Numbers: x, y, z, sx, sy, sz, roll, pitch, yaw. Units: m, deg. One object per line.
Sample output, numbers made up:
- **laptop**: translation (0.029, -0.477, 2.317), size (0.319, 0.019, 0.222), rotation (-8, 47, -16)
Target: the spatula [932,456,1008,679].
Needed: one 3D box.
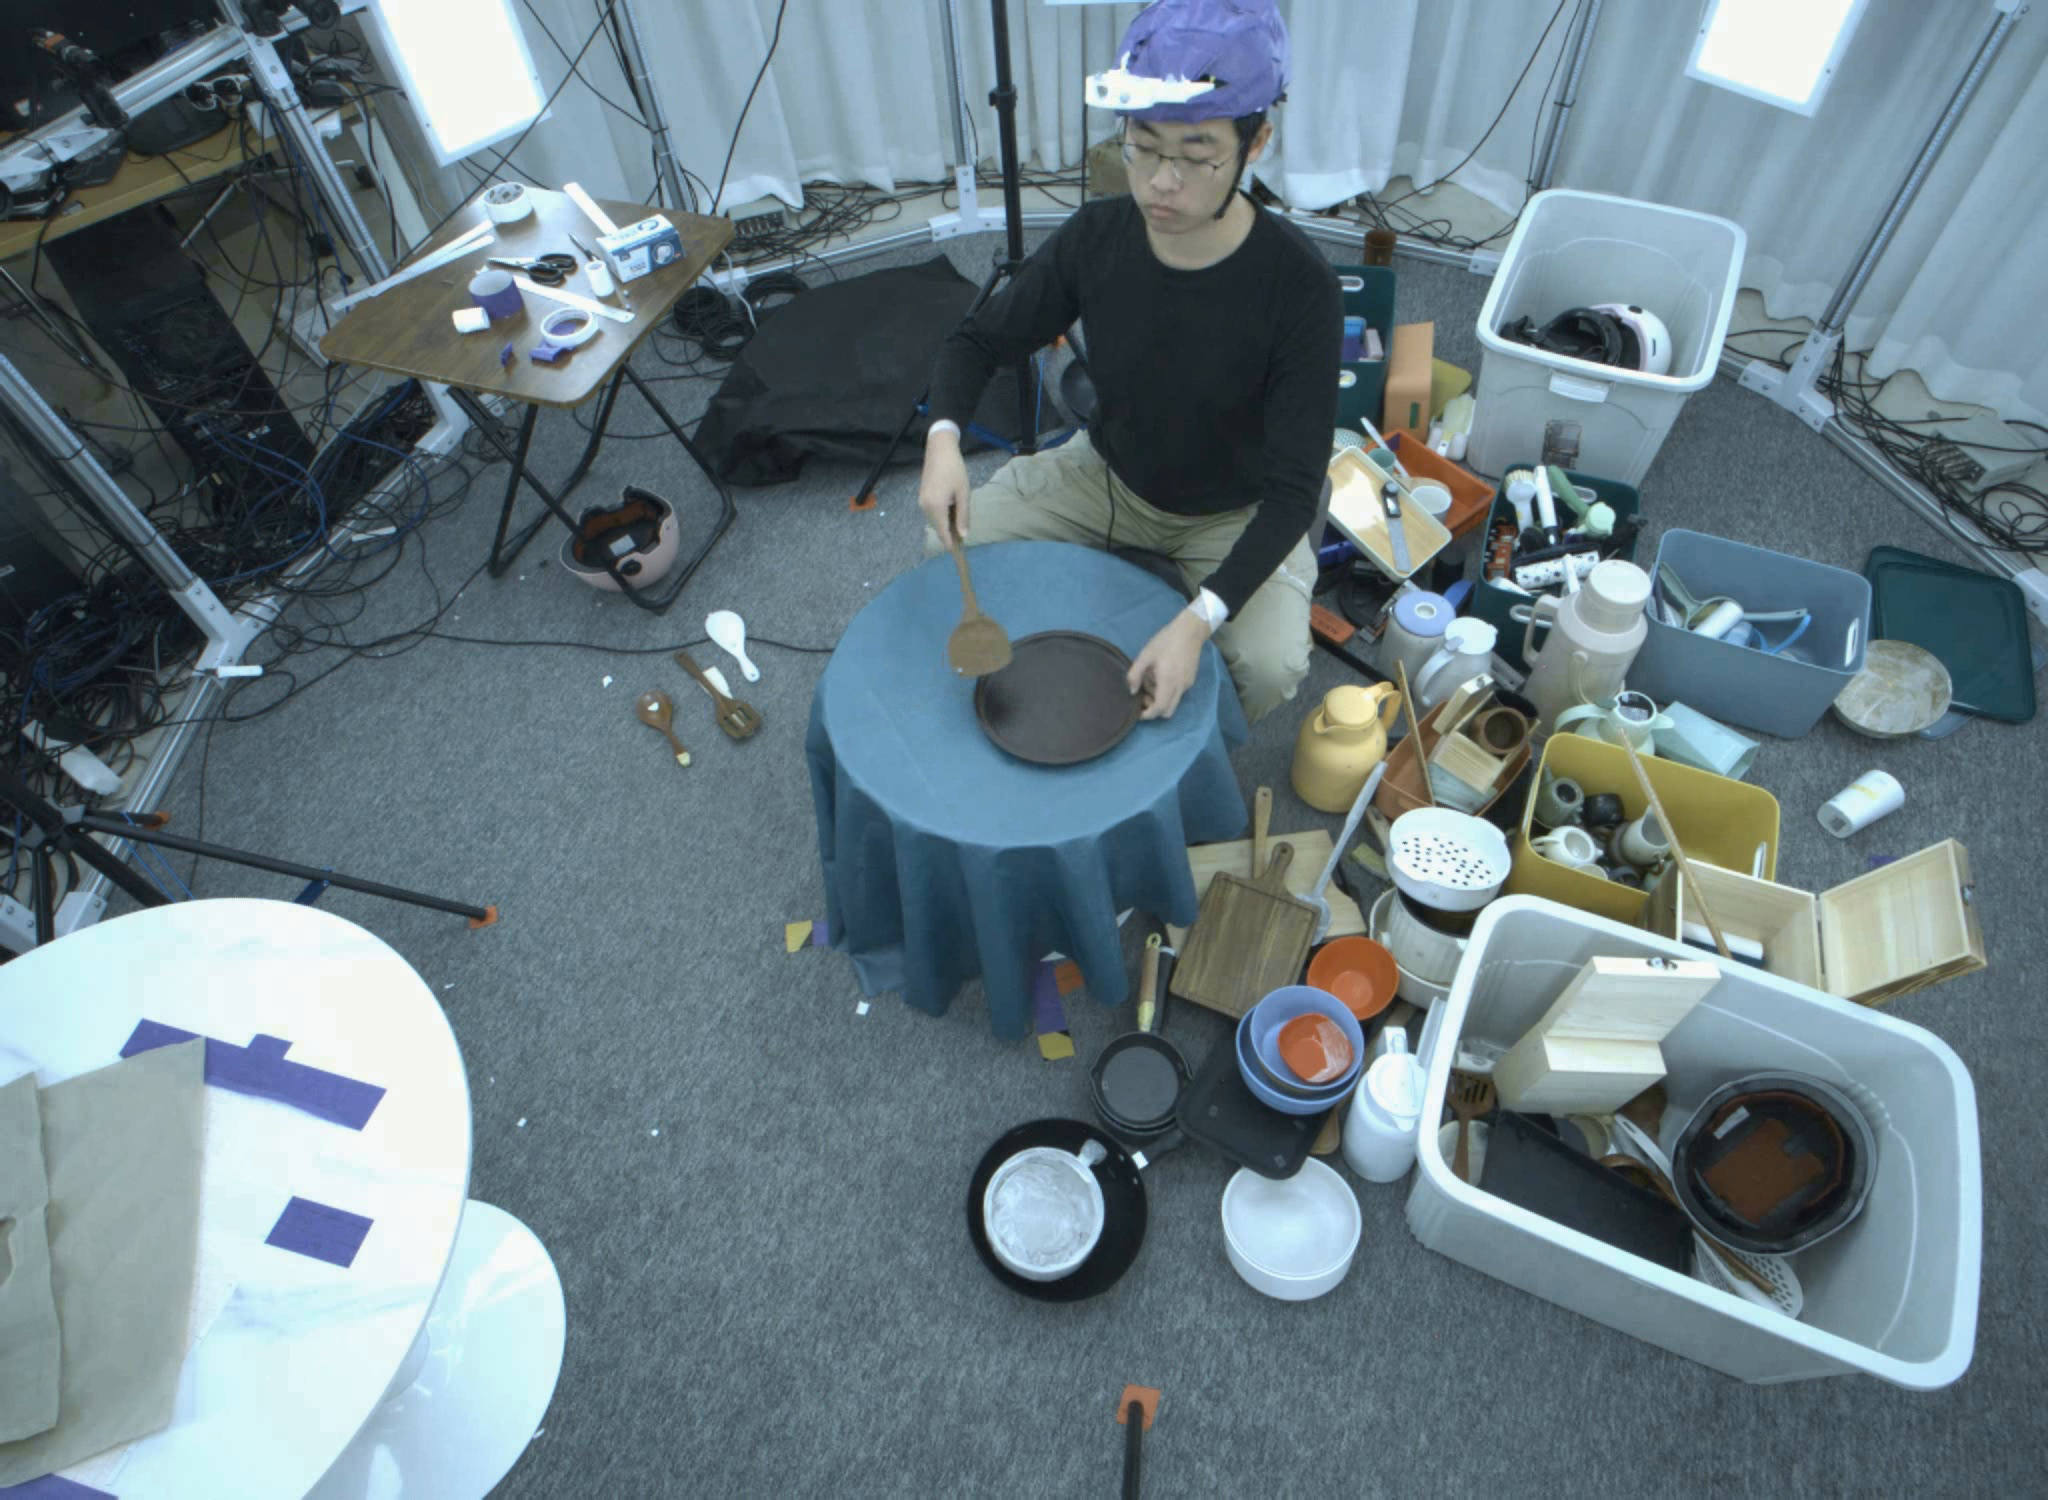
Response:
- **spatula**: translation (-0.099, -0.282, 1.828), size (0.096, 0.016, 0.382), rotation (-11, 72, 0)

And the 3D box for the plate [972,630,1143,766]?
- **plate**: translation (0.050, -0.078, 1.826), size (0.254, 0.029, 0.252), rotation (-1, 54, 3)
